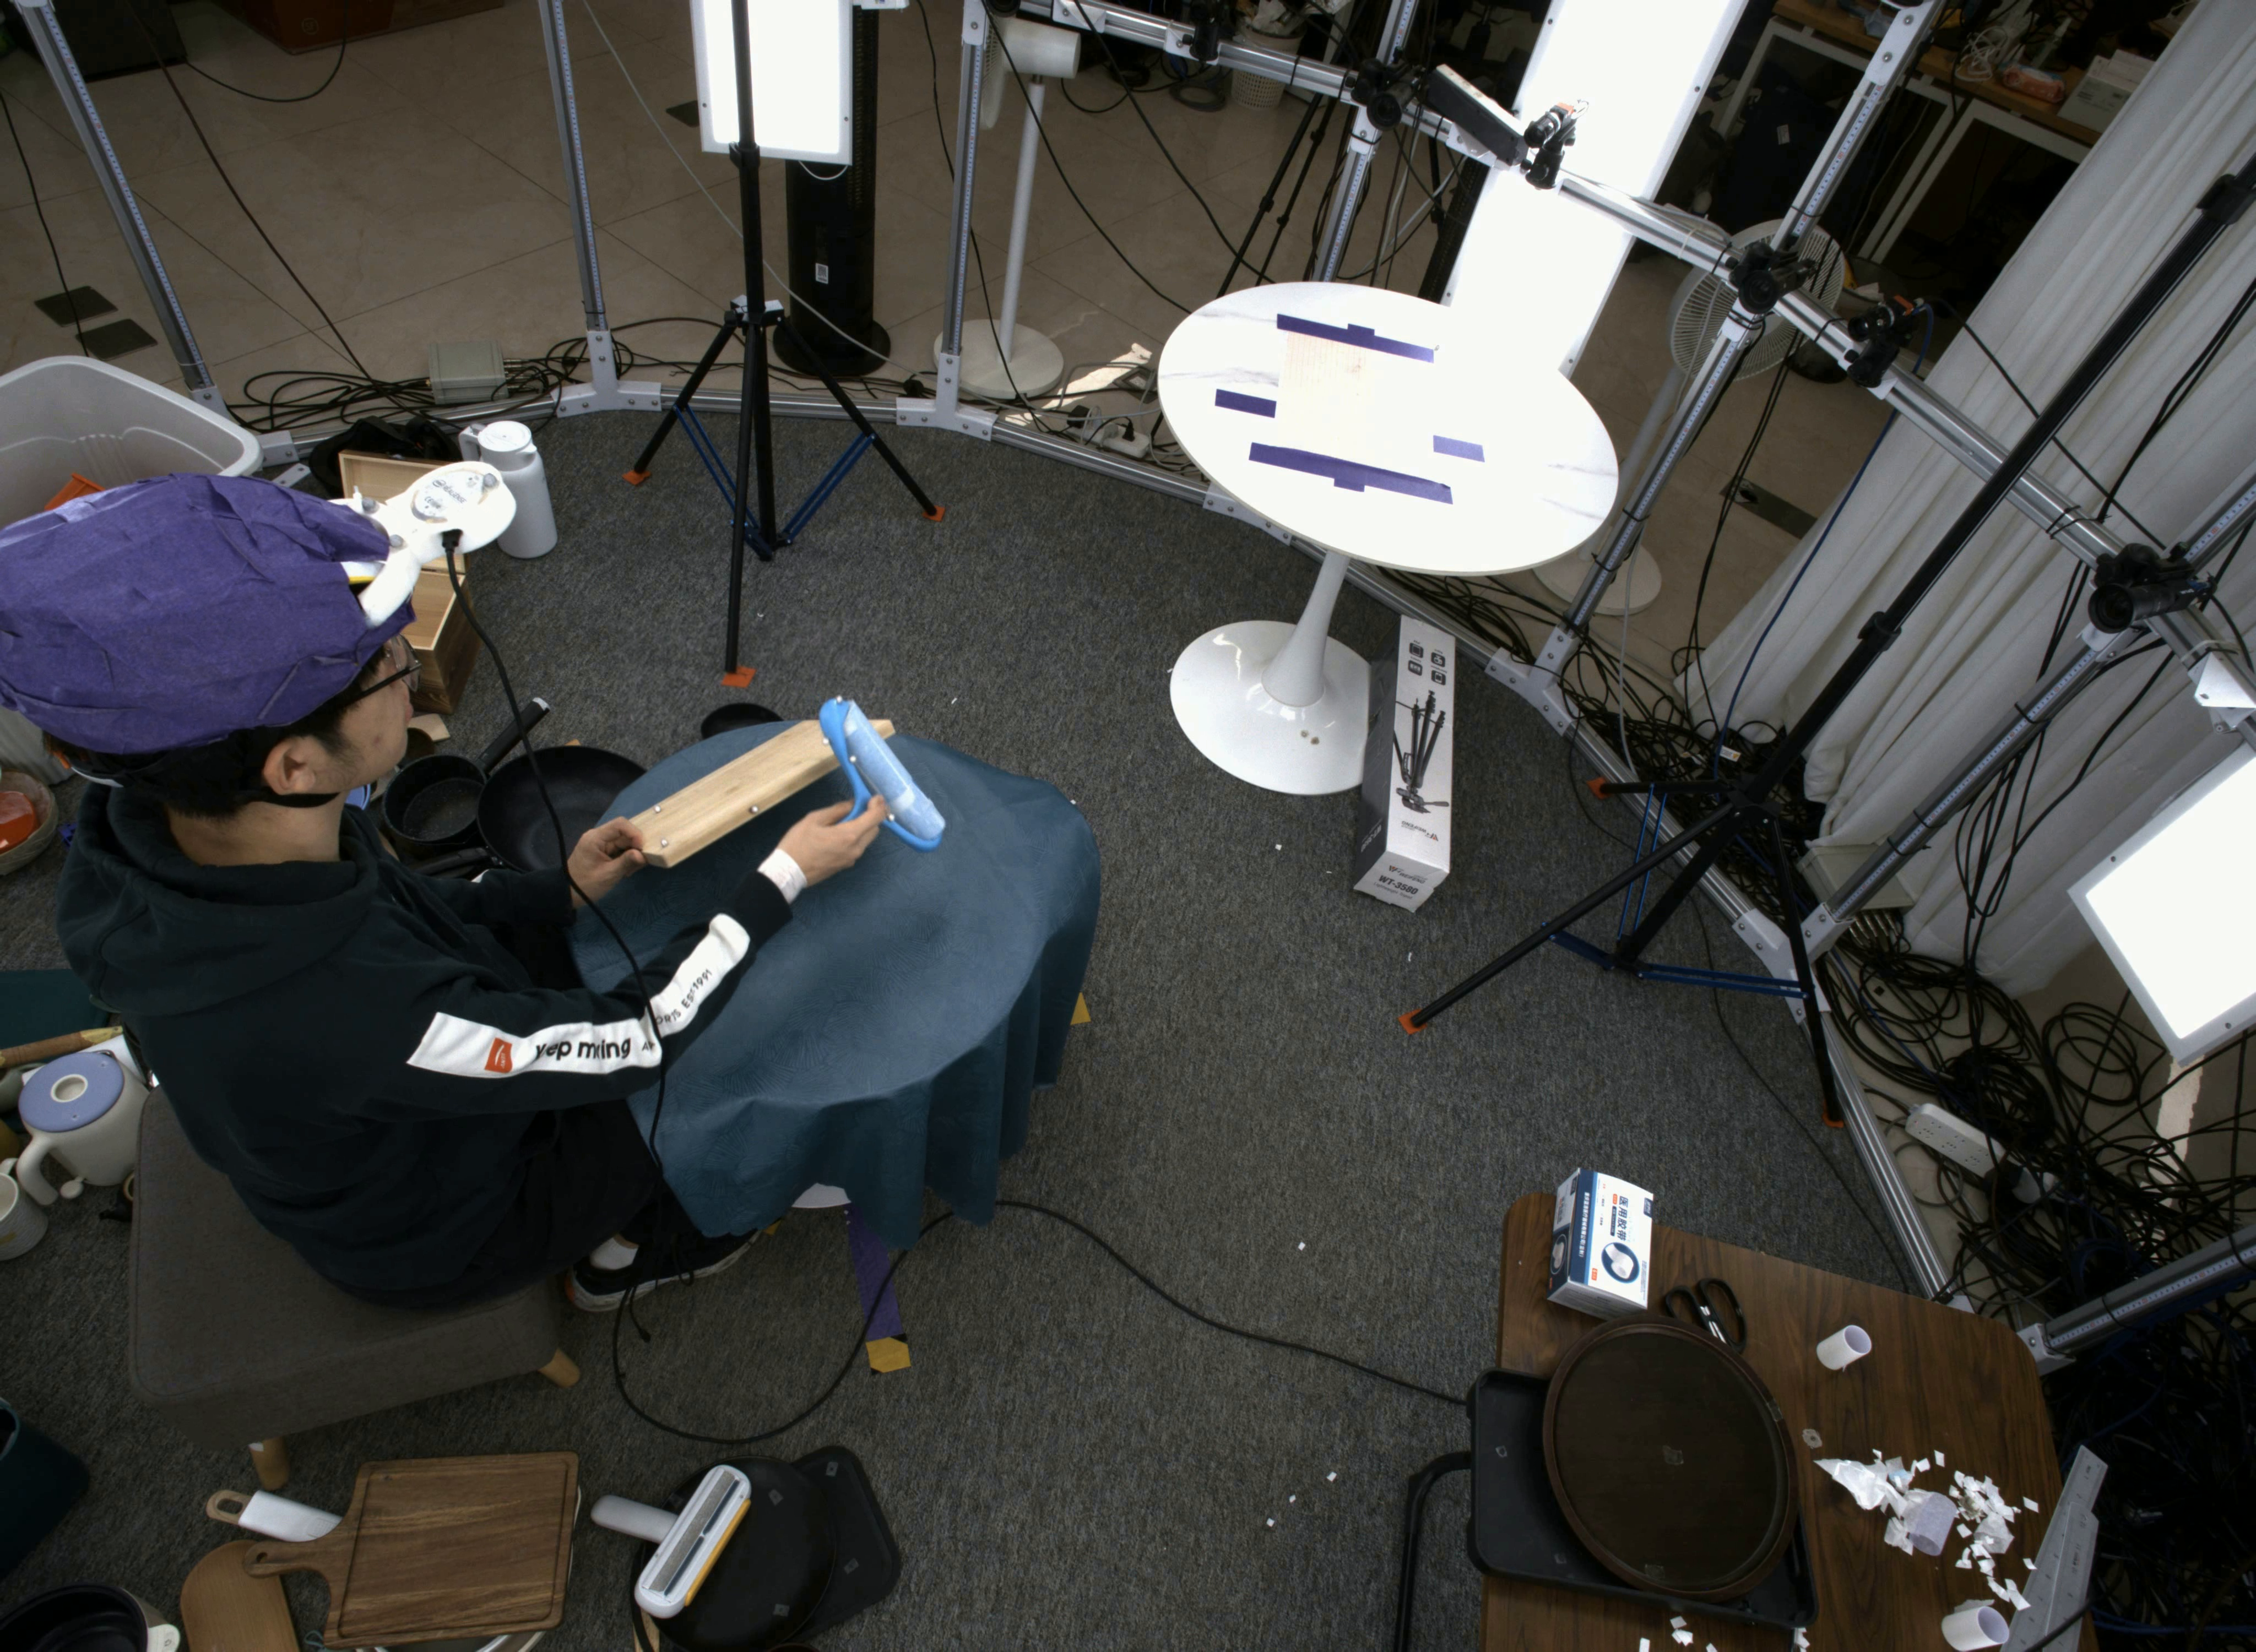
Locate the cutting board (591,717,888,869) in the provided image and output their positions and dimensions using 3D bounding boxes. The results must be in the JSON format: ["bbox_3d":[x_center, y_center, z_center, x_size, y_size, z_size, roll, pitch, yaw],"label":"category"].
[{"bbox_3d":[-0.494,-0.050,1.637,0.242,0.024,0.349,2,32,48],"label":"cutting board"}]

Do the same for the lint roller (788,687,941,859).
[{"bbox_3d":[-0.328,-0.029,1.542,0.065,0.238,0.179,2,49,41],"label":"lint roller"}]
